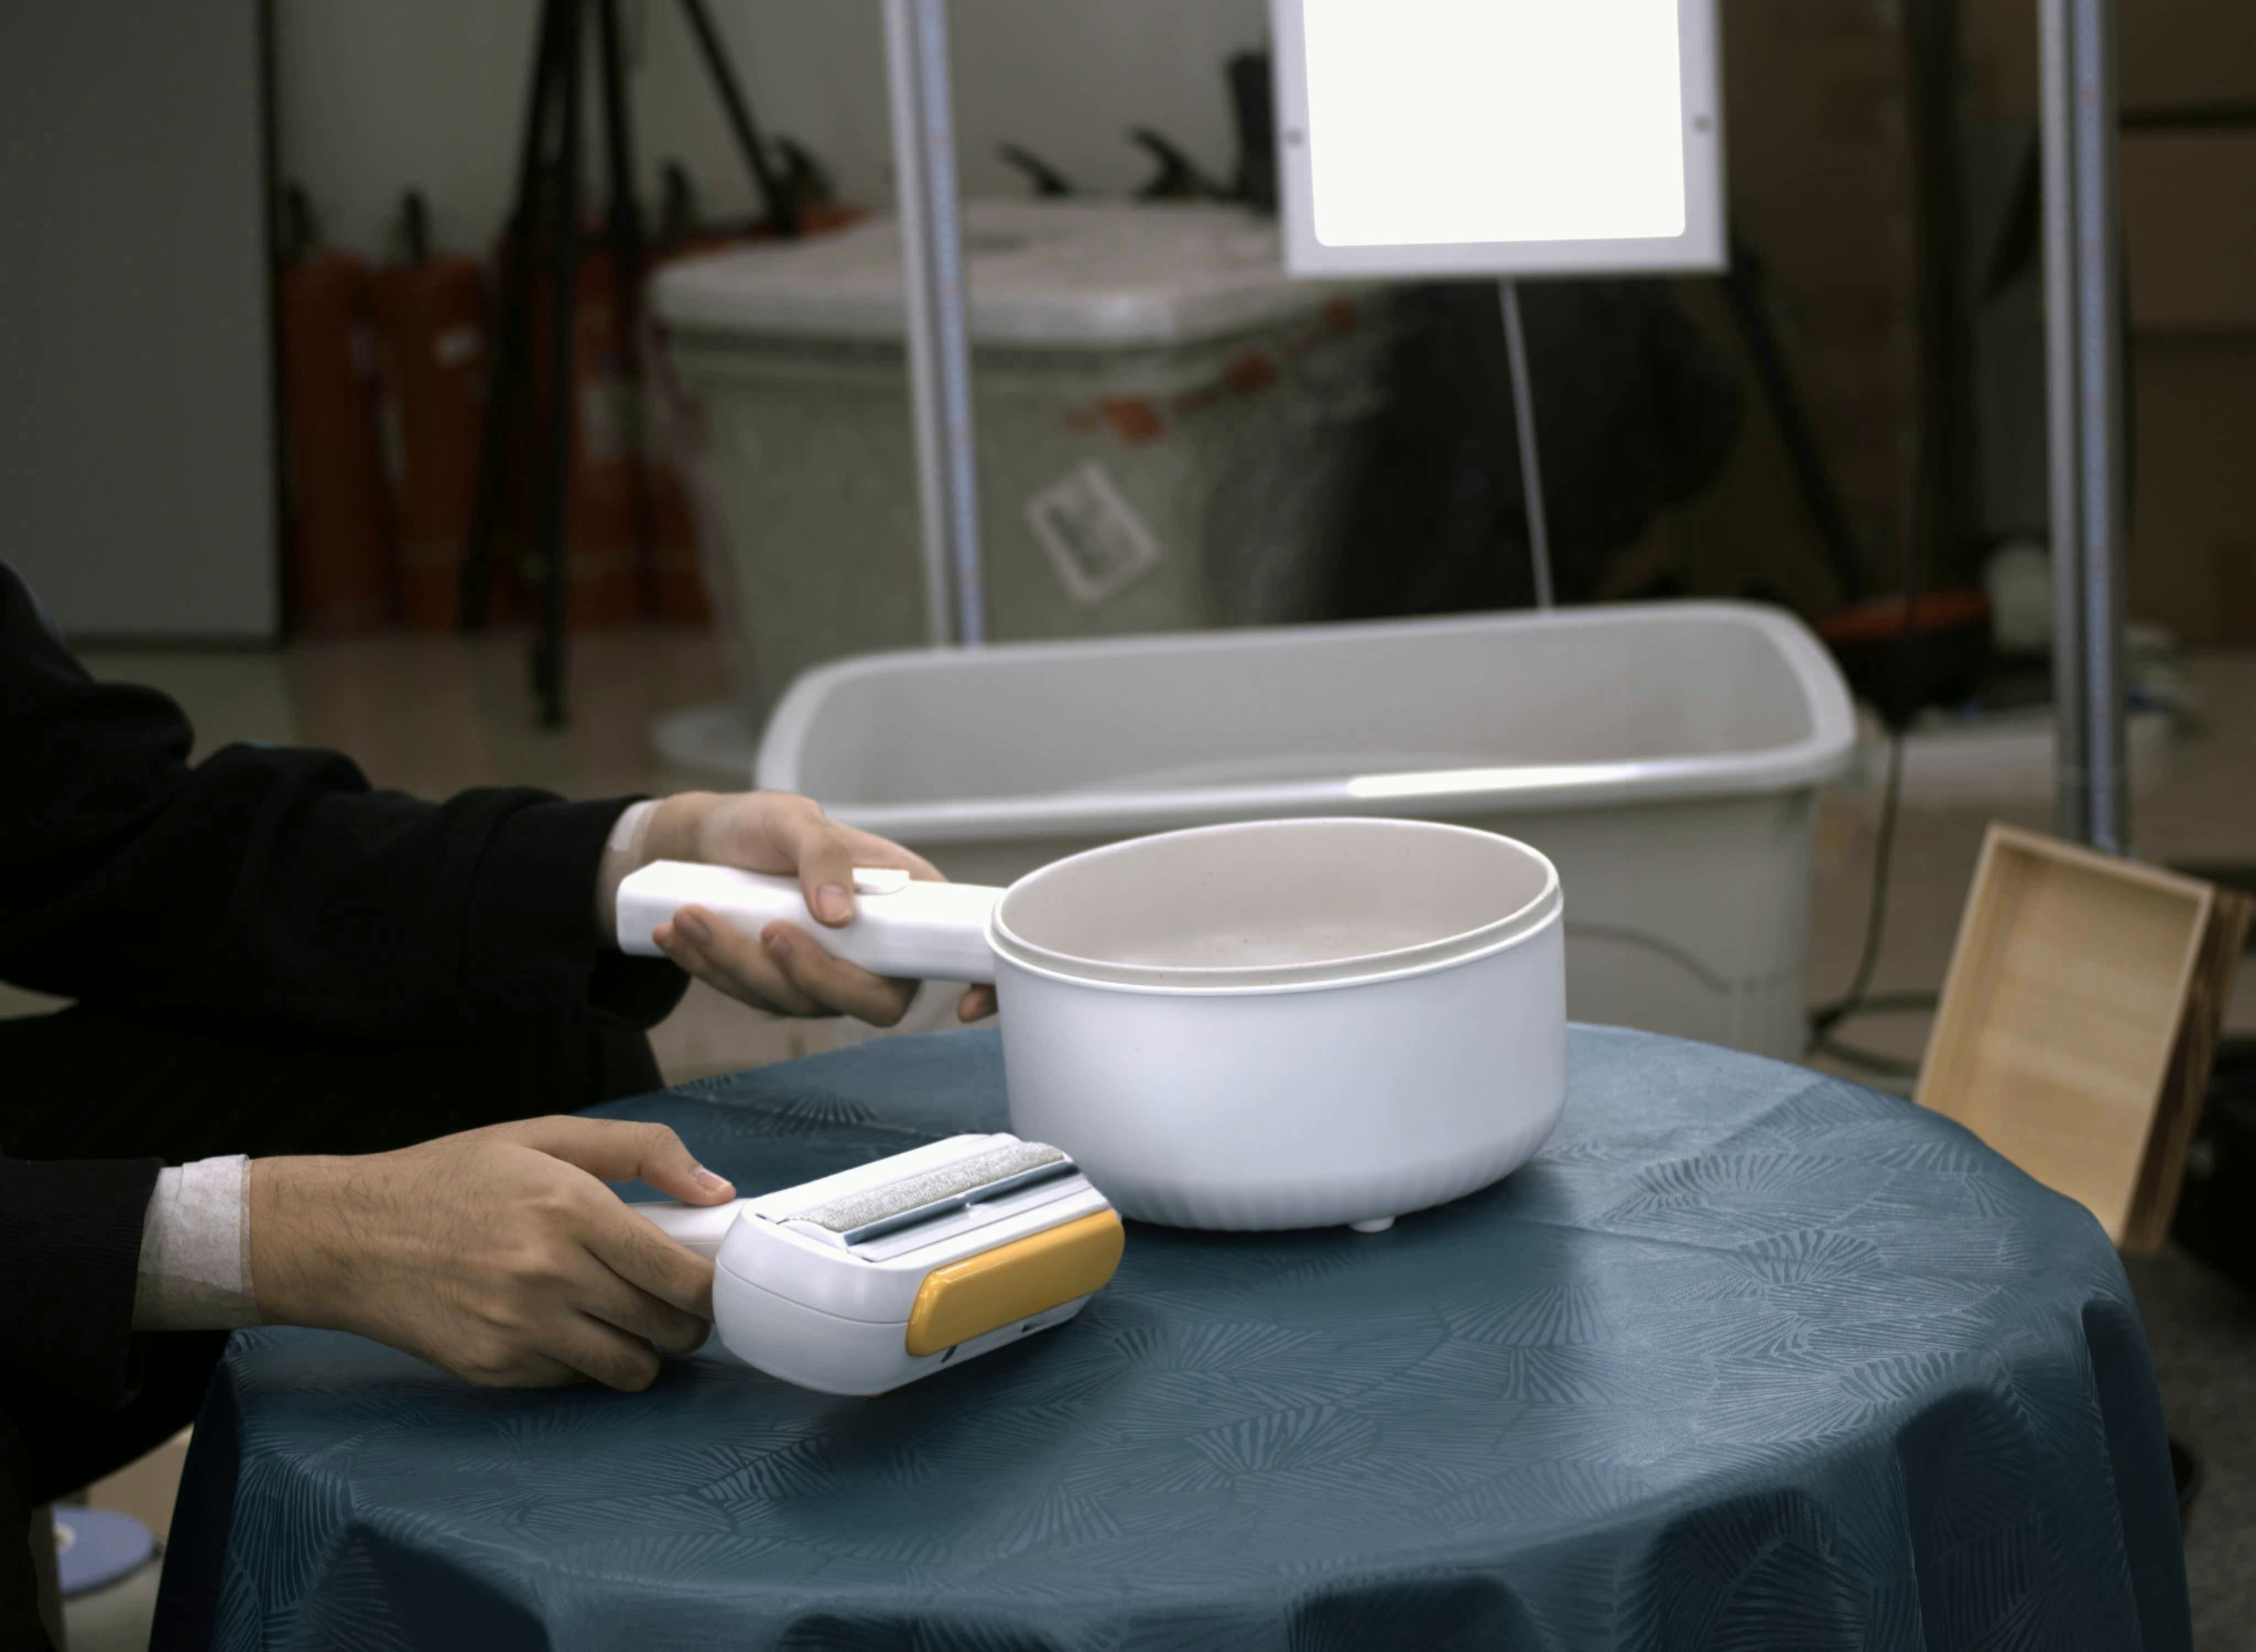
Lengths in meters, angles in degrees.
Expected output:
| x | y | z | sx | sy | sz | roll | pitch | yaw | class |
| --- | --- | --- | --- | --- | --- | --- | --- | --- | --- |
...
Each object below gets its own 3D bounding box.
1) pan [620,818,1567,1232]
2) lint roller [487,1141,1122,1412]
| x | y | z | sx | sy | sz | roll | pitch | yaw | class |
| --- | --- | --- | --- | --- | --- | --- | --- | --- | --- |
| -0.016 | 0.068 | 1.927 | 0.361 | 0.102 | 0.197 | 2 | 16 | 28 | pan |
| -0.118 | 0.132 | 1.739 | 0.196 | 0.074 | 0.188 | 11 | 15 | 29 | lint roller |
